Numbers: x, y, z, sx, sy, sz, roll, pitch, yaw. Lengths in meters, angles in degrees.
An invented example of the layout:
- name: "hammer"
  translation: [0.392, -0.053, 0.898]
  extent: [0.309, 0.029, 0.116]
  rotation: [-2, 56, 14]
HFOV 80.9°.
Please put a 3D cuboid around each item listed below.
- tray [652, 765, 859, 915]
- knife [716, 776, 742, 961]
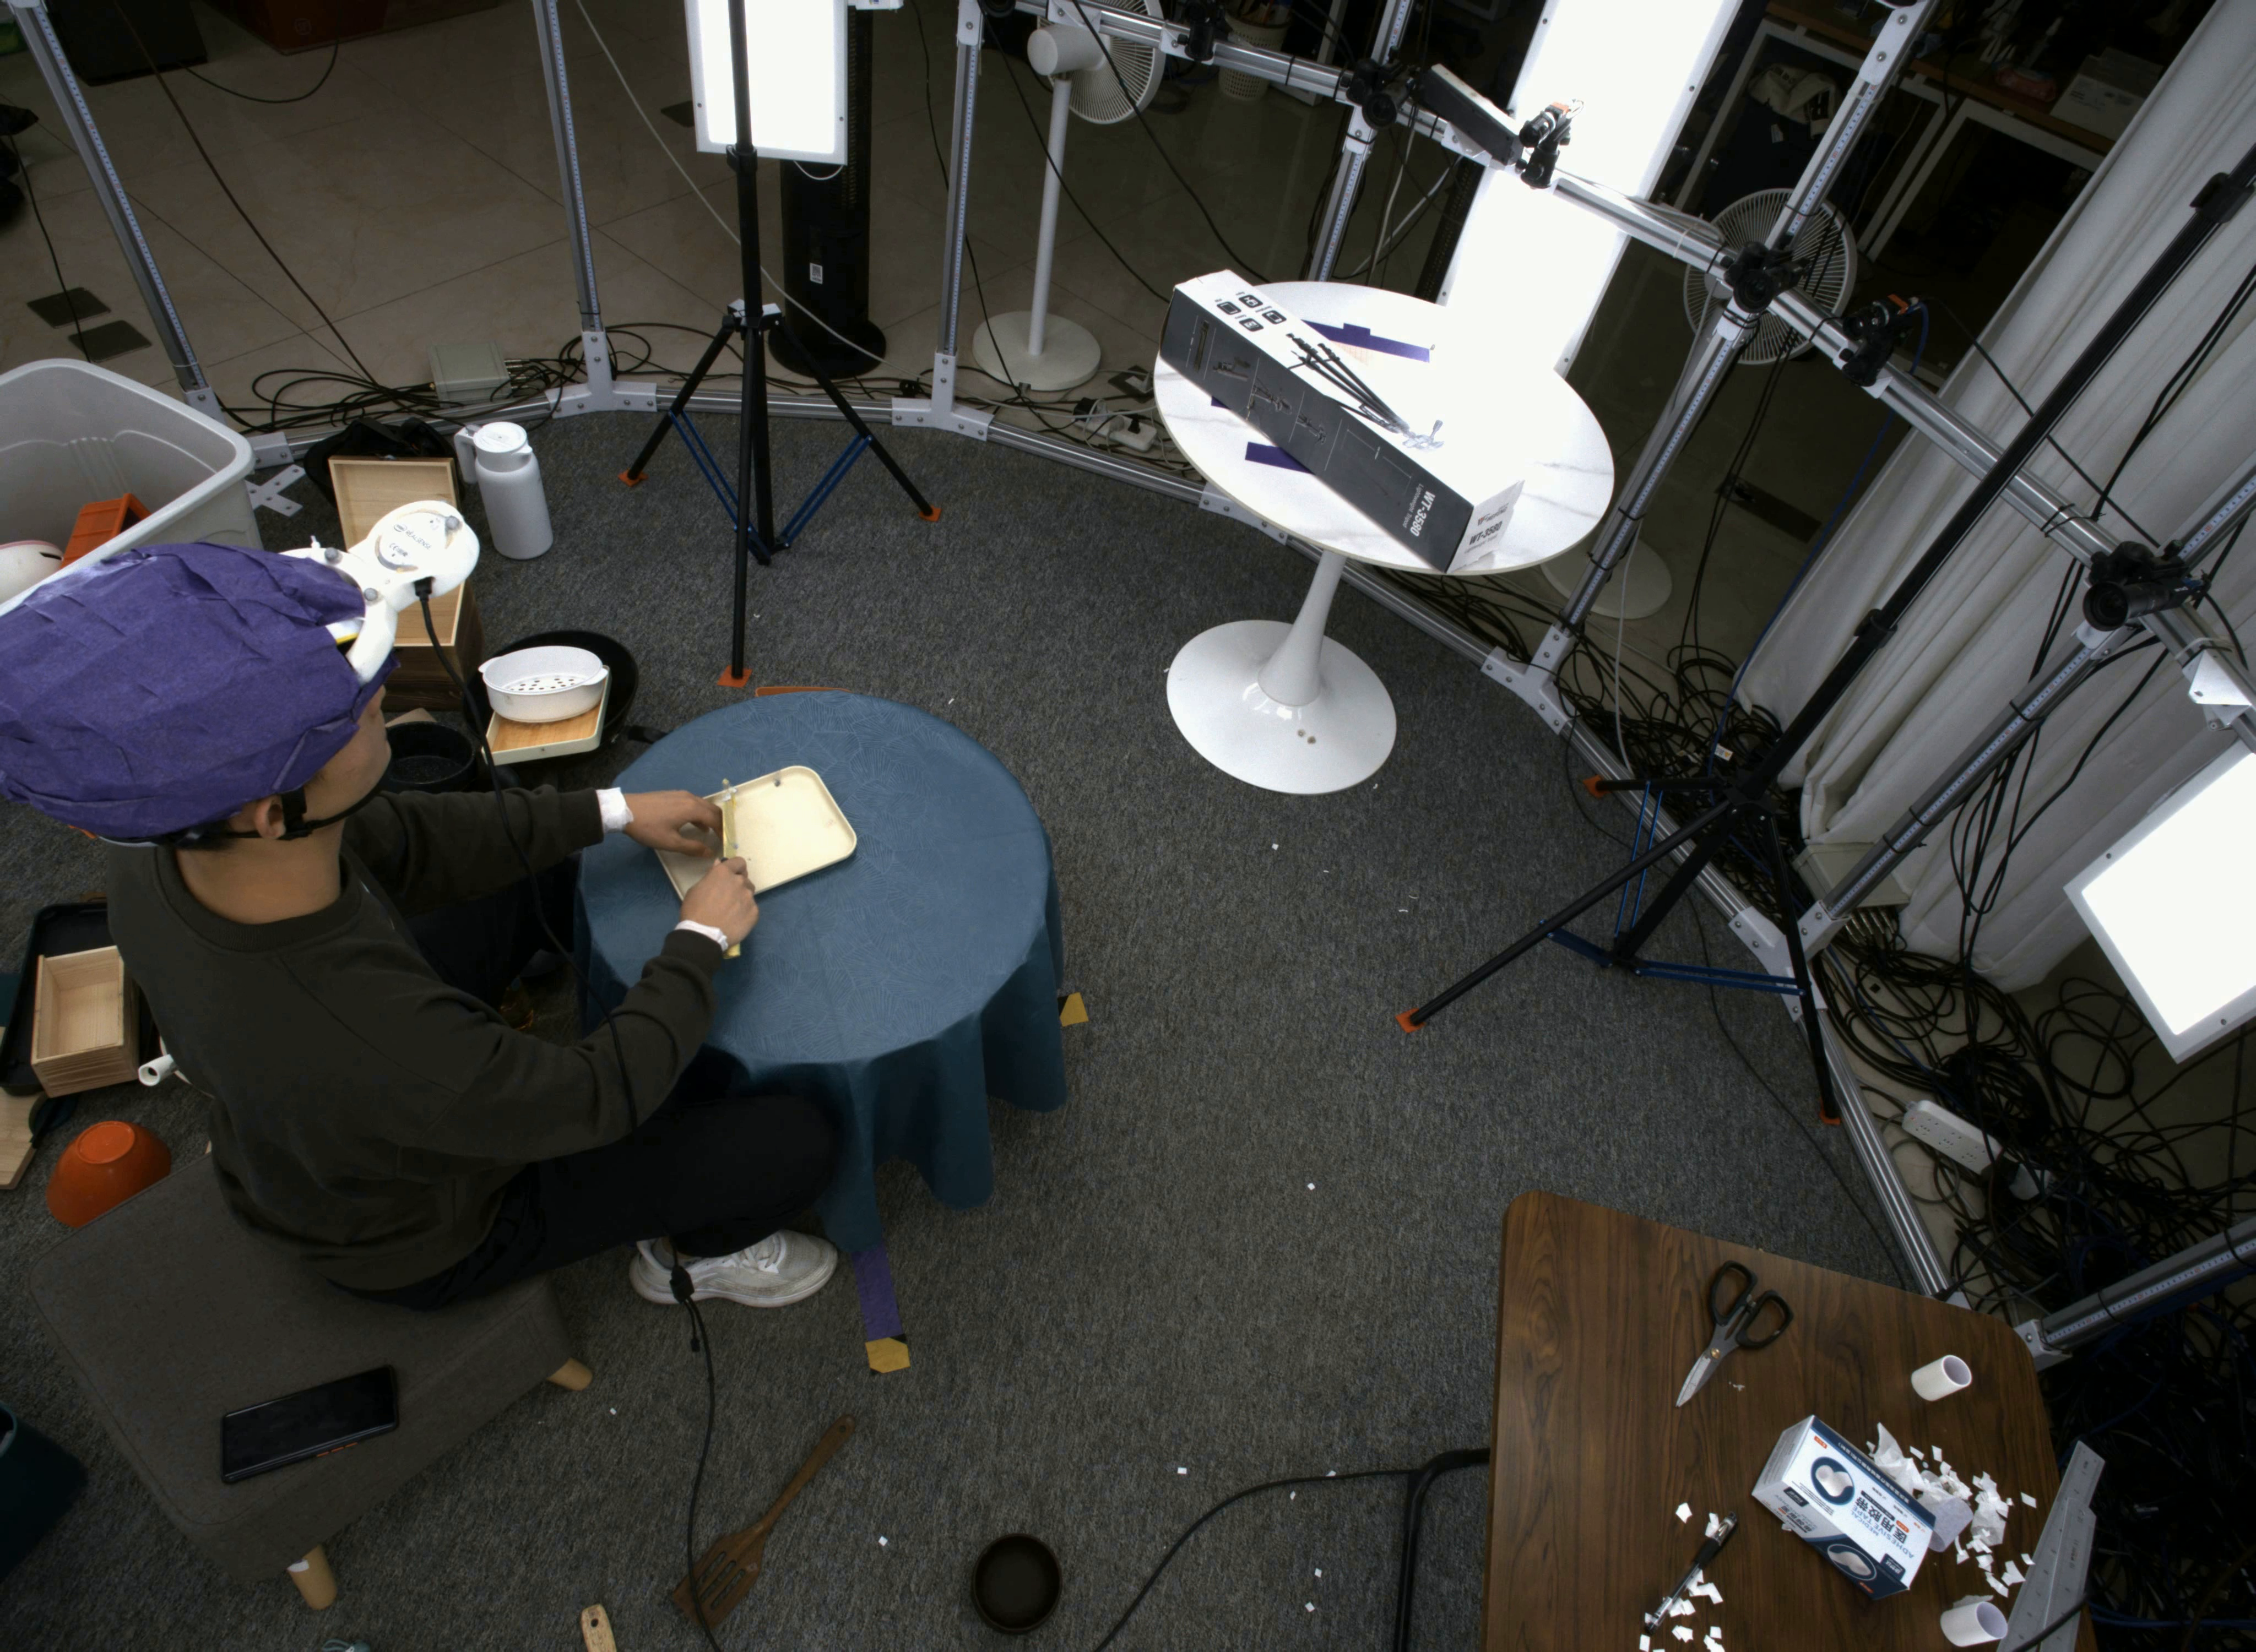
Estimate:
- name: "tray"
  translation: [-0.488, 0.015, 1.696]
  extent: [0.241, 0.018, 0.167]
  rotation: [-24, 64, -28]
- name: "knife"
  translation: [-0.499, 0.050, 1.626]
  extent: [0.027, 0.083, 0.283]
  rotation: [-9, 54, -5]
